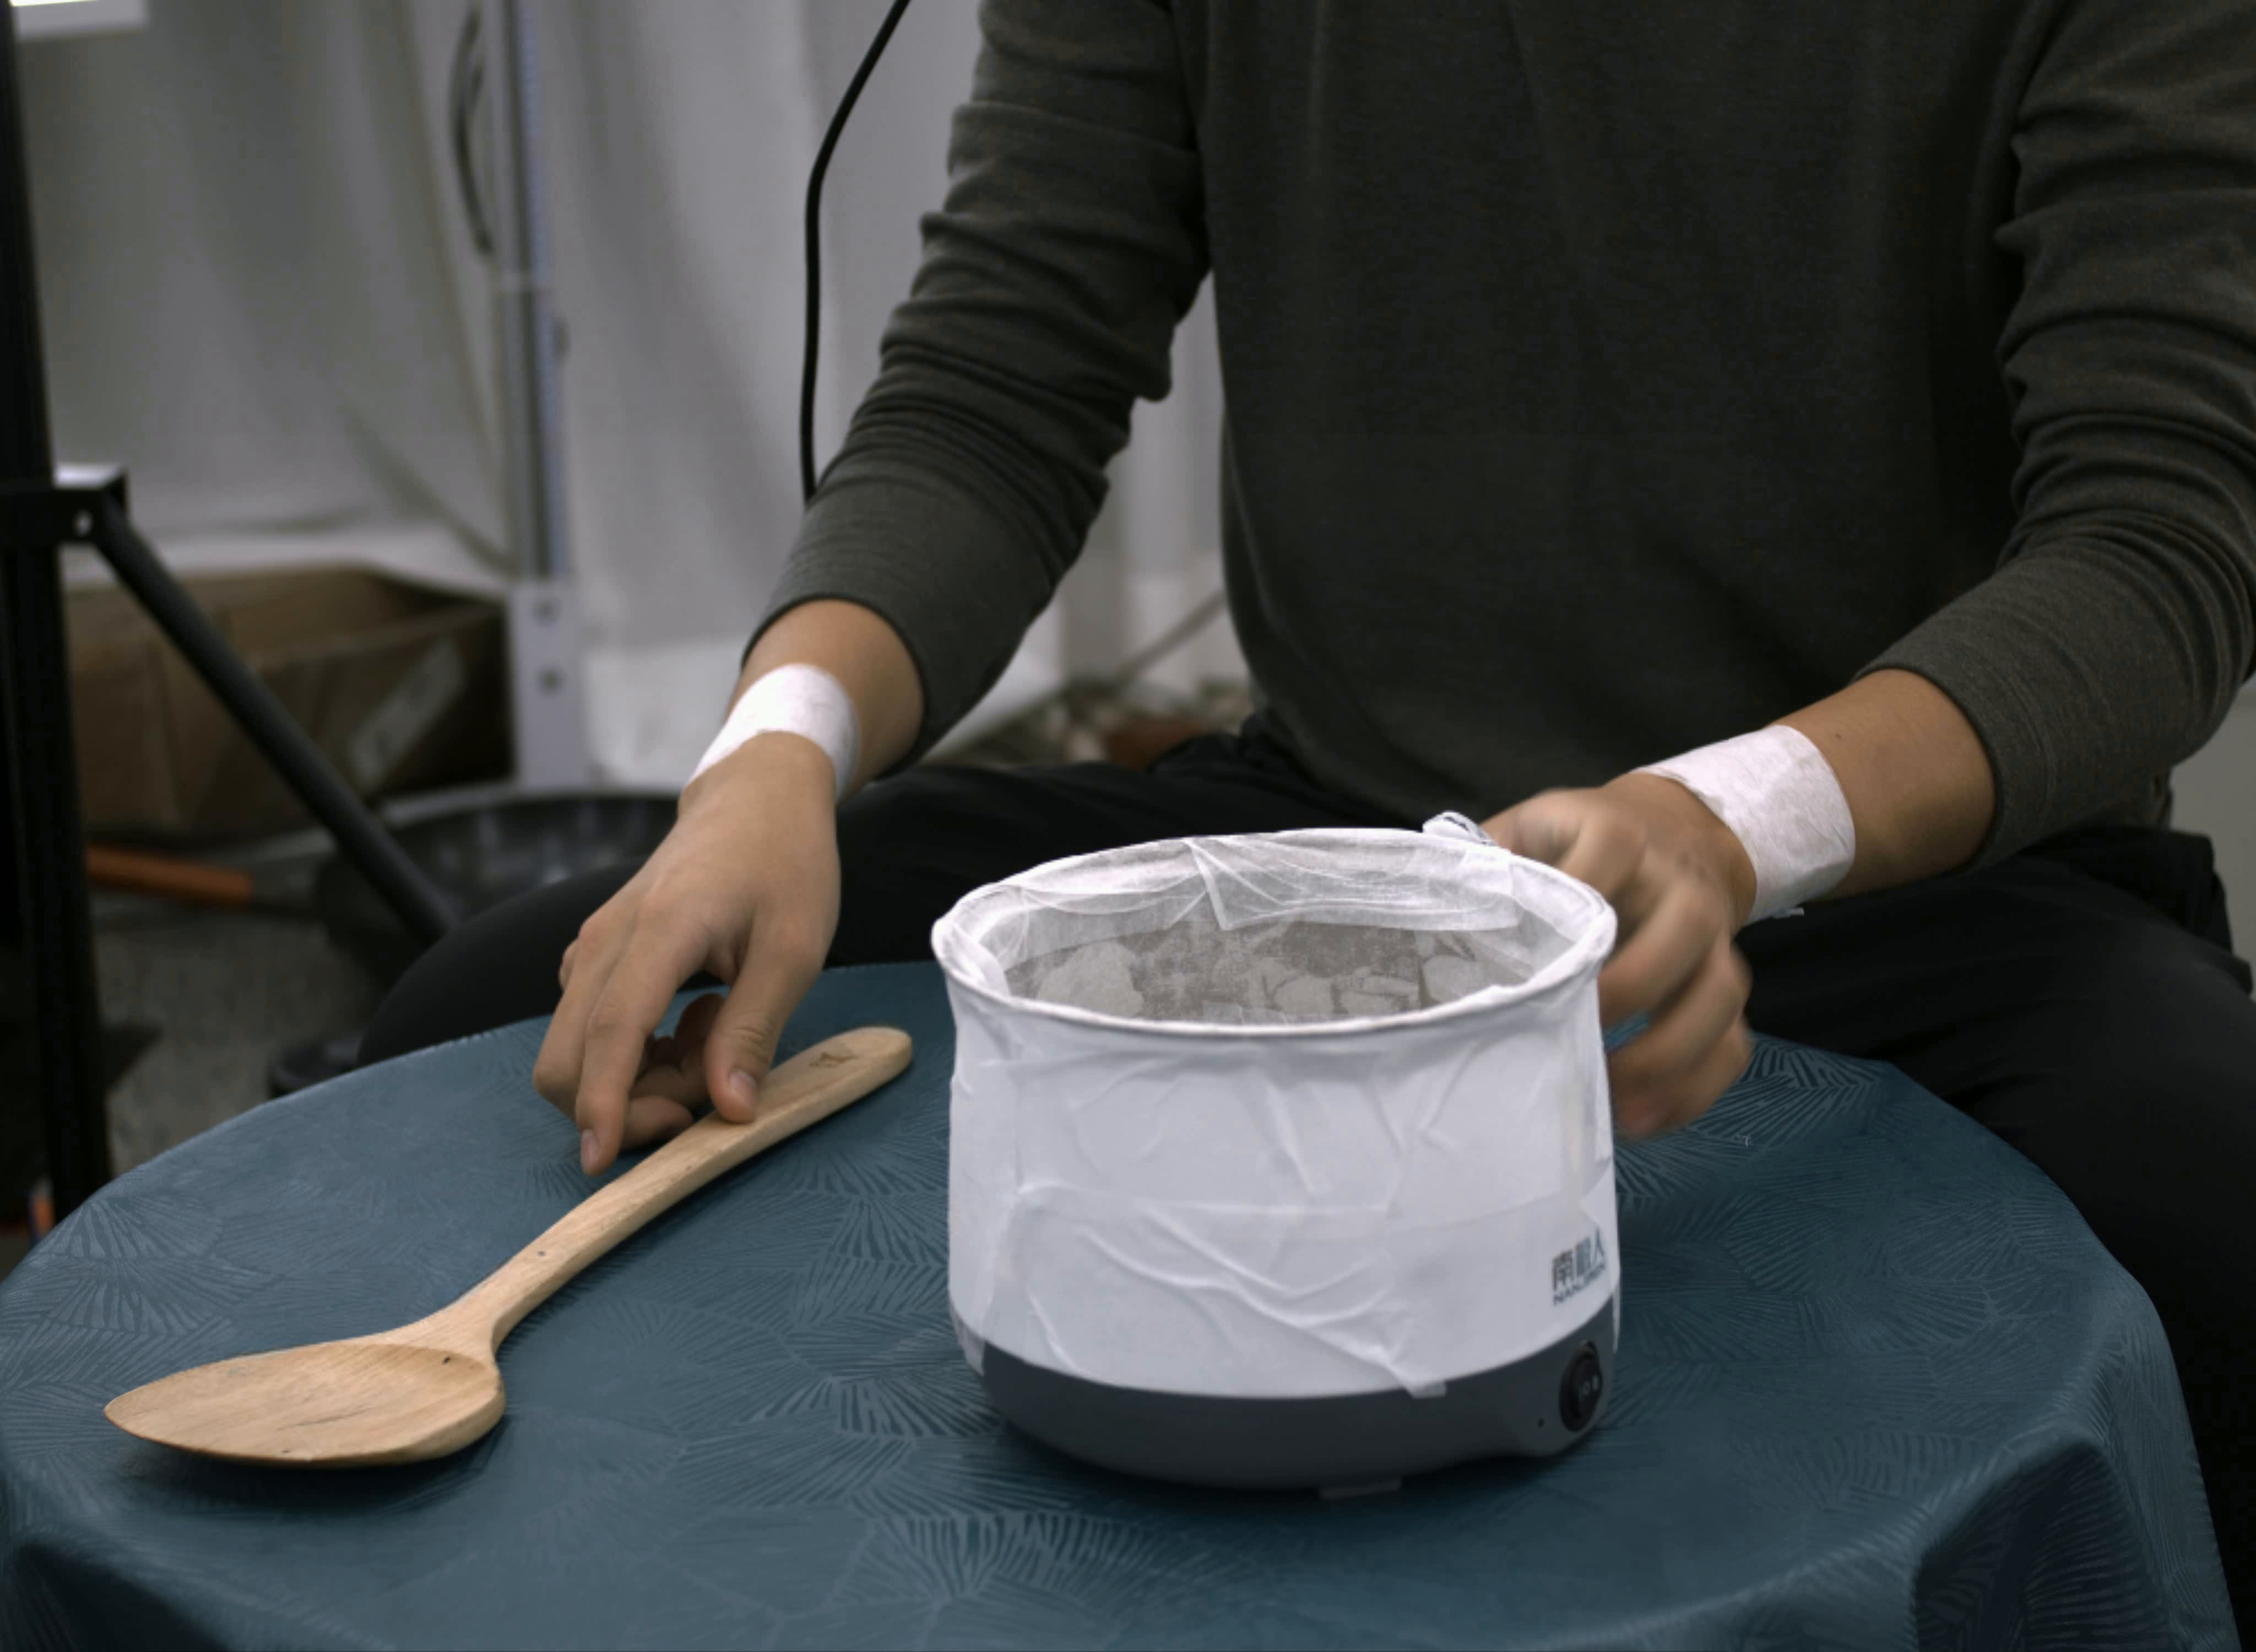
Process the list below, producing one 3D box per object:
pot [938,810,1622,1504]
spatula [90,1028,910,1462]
[{"bbox_3d":[0.054,0.079,1.403,0.182,0.136,0.229,7,18,30],"label":"pot"},{"bbox_3d":[-0.158,0.114,1.533,0.097,0.018,0.385,6,18,23],"label":"spatula"}]
